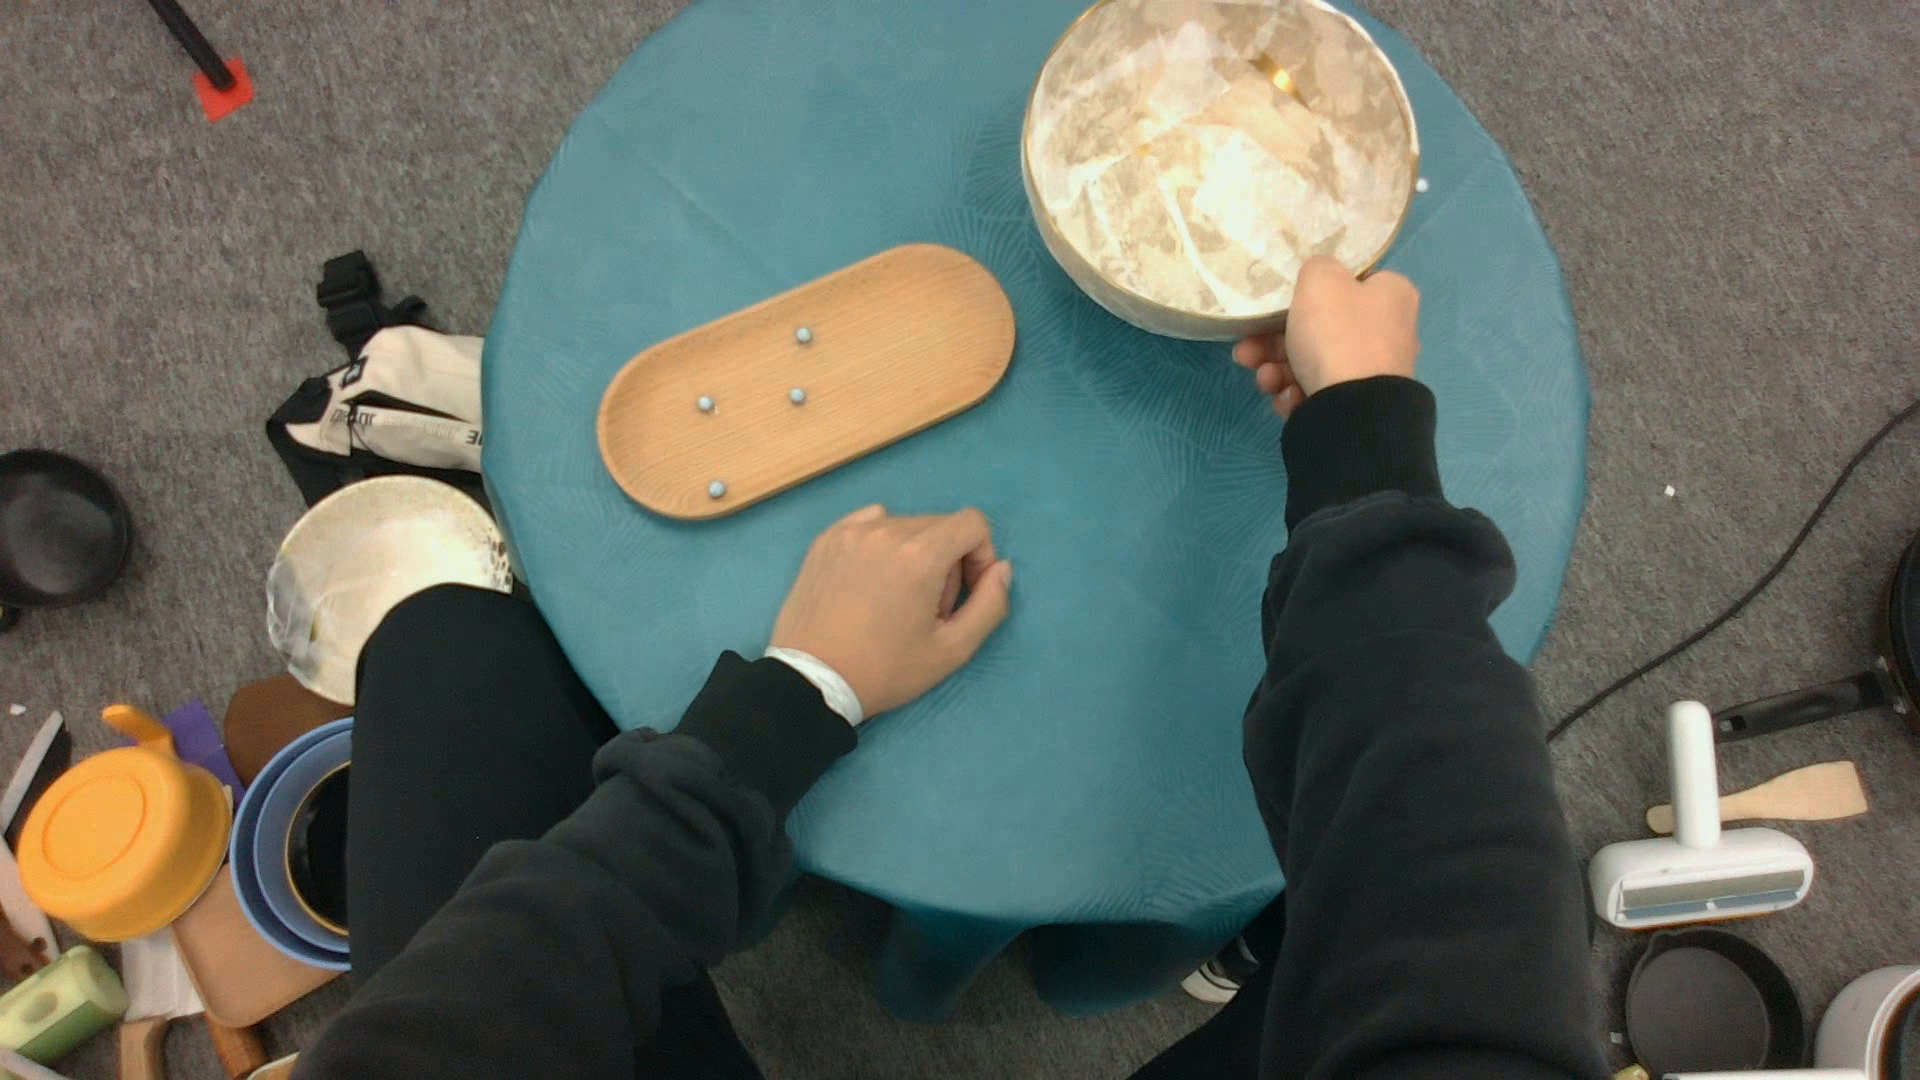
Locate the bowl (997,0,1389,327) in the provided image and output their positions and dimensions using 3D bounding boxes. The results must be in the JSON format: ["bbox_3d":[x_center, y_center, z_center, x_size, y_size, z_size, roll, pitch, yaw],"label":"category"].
[{"bbox_3d":[0.113,-0.196,0.739,0.215,0.094,0.215,1,73,-5],"label":"bowl"}]

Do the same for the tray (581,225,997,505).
[{"bbox_3d":[-0.088,-0.094,0.734,0.231,0.020,0.102,-26,79,-13],"label":"tray"}]
